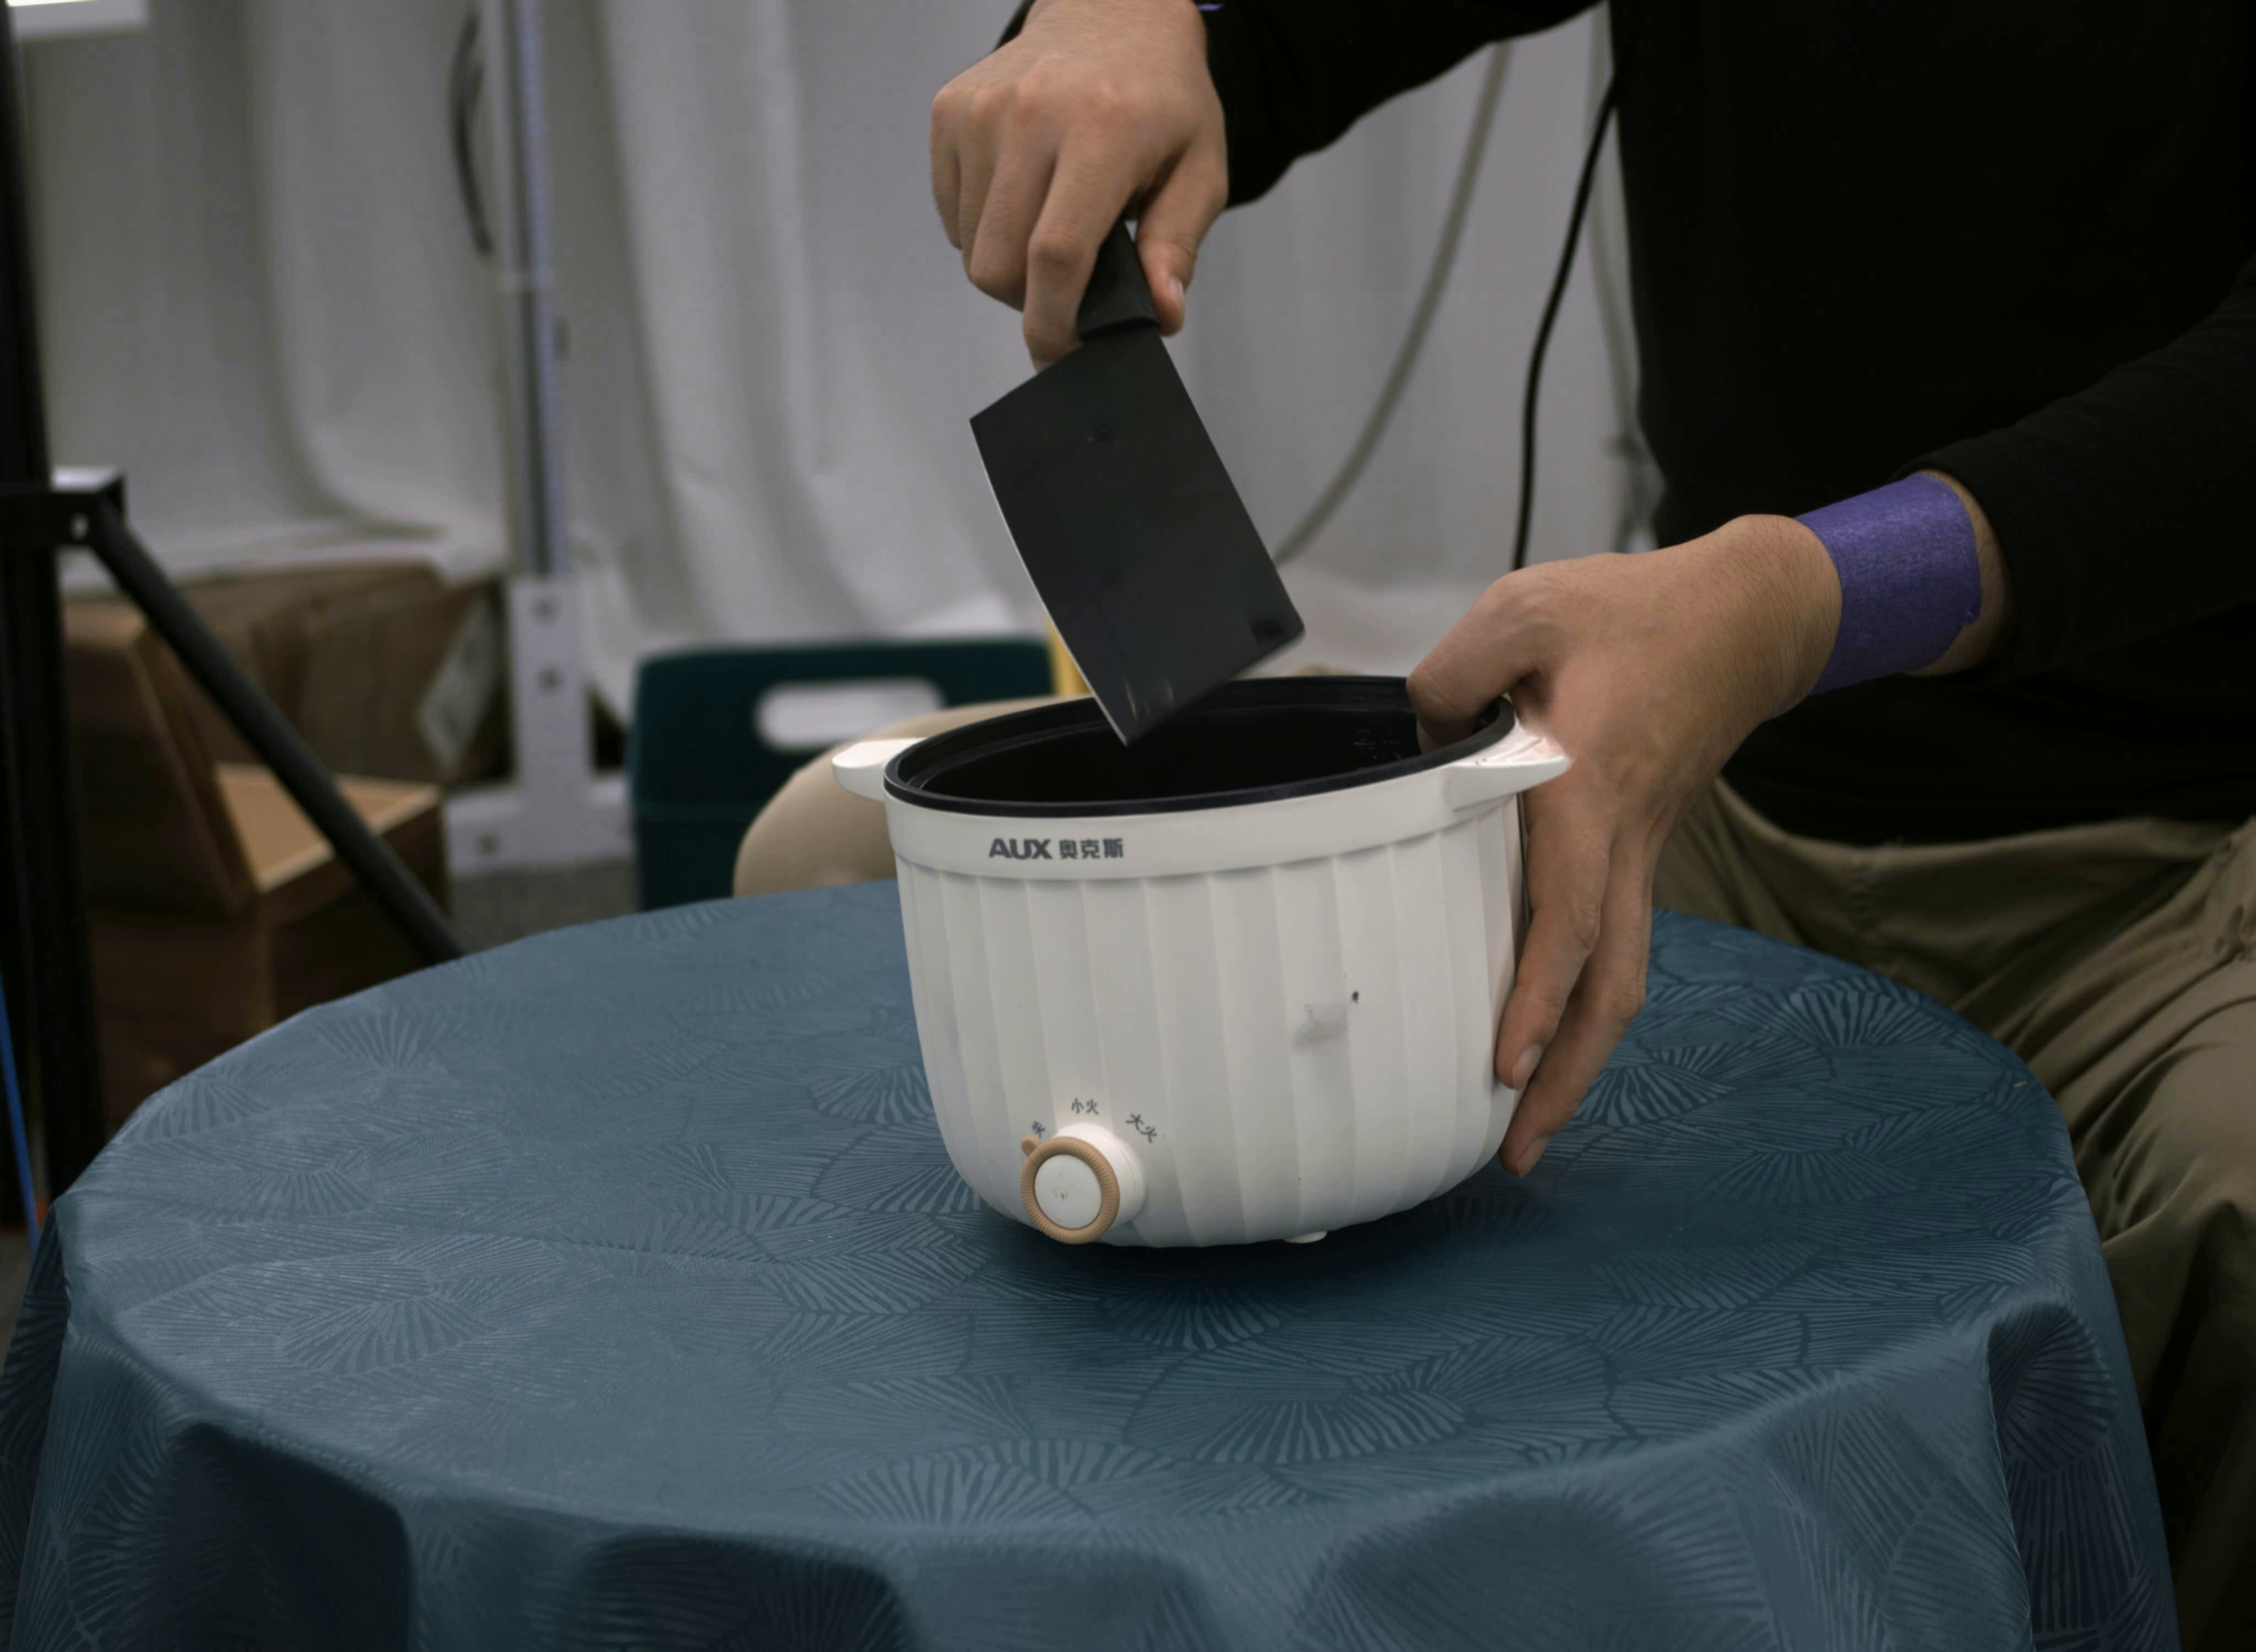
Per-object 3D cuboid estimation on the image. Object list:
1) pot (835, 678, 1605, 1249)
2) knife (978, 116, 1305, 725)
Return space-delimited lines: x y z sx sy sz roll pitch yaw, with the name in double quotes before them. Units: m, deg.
"pot" 0.026 0.041 1.514 0.244 0.143 0.187 -1 9 30
"knife" -0.009 -0.129 1.600 0.081 0.020 0.307 -30 37 11
